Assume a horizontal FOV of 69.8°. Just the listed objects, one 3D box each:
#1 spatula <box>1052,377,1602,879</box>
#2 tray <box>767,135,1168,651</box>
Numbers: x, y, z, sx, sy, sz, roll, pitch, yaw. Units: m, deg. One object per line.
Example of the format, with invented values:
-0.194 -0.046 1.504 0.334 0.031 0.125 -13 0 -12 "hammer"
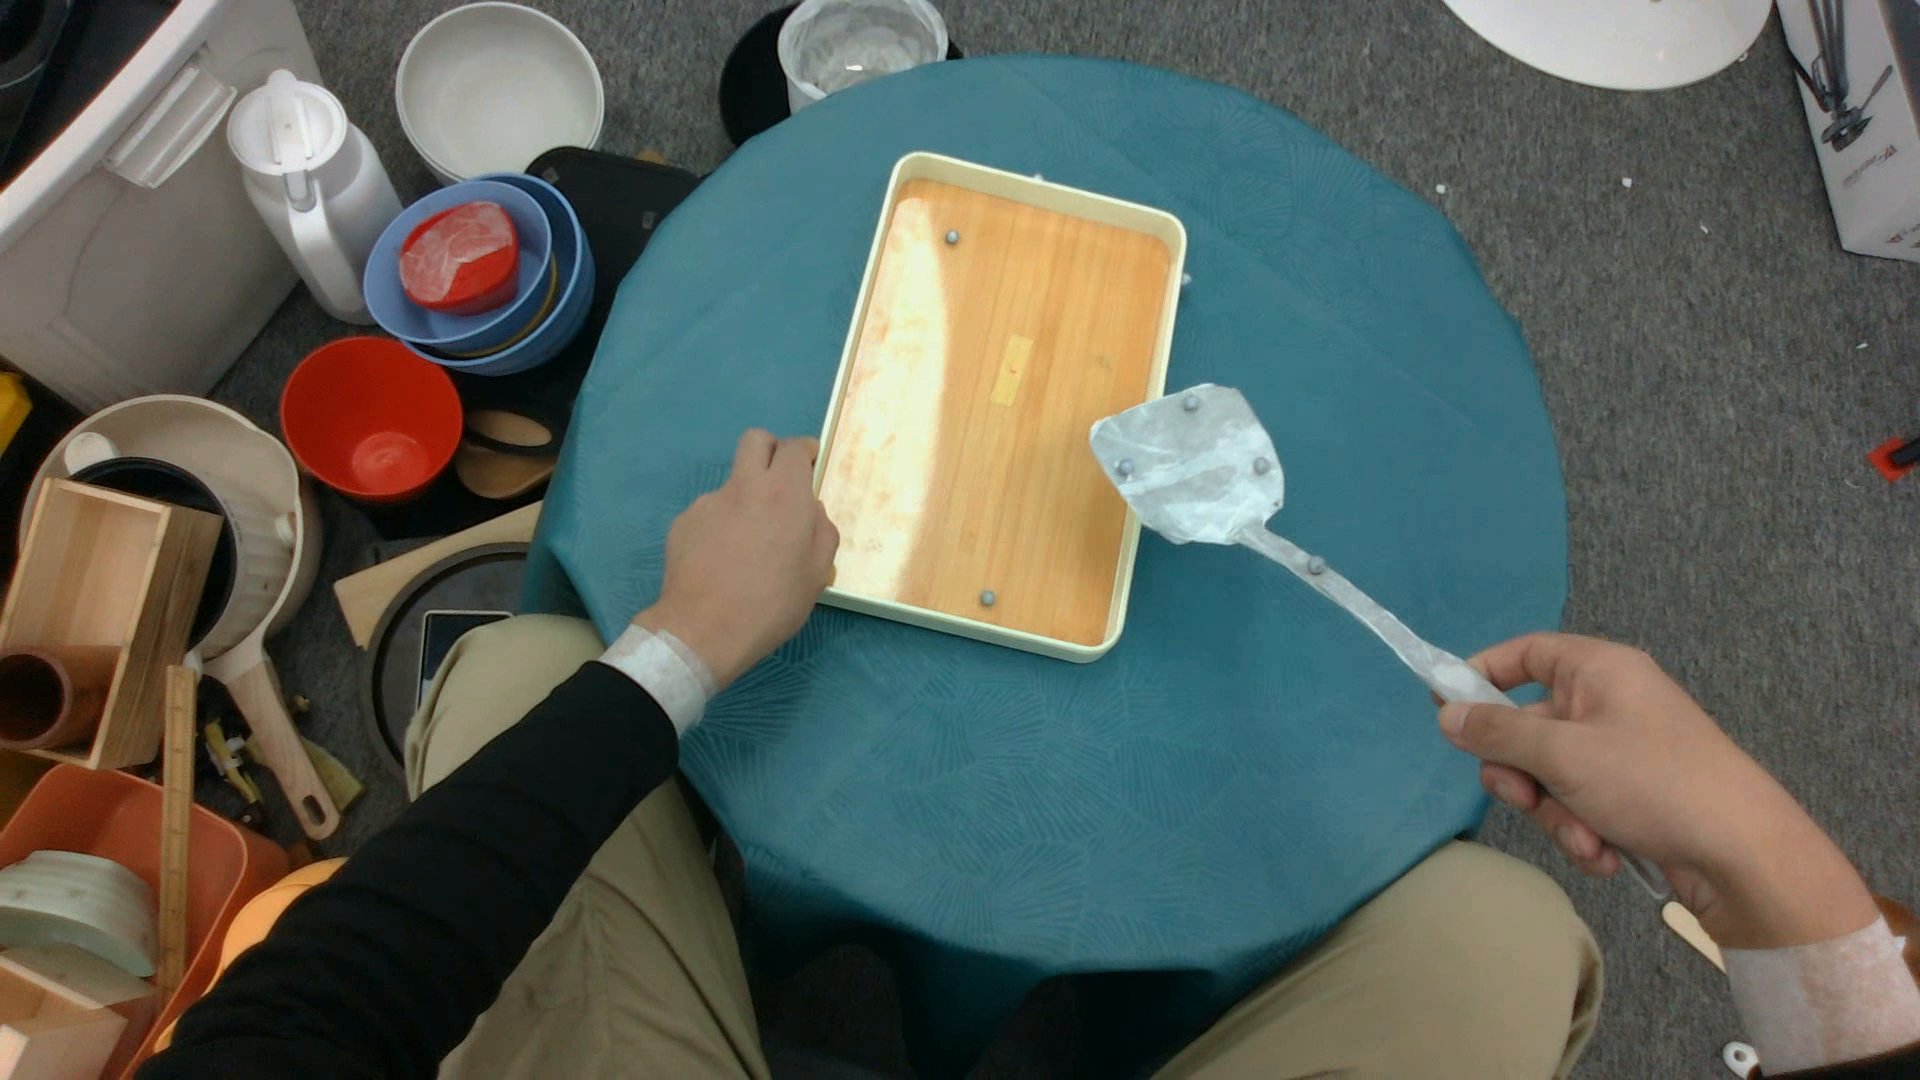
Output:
0.166 0.020 0.645 0.099 0.044 0.365 -20 36 -18 "spatula"
0.011 -0.094 0.819 0.191 0.027 0.301 14 68 -4 "tray"
